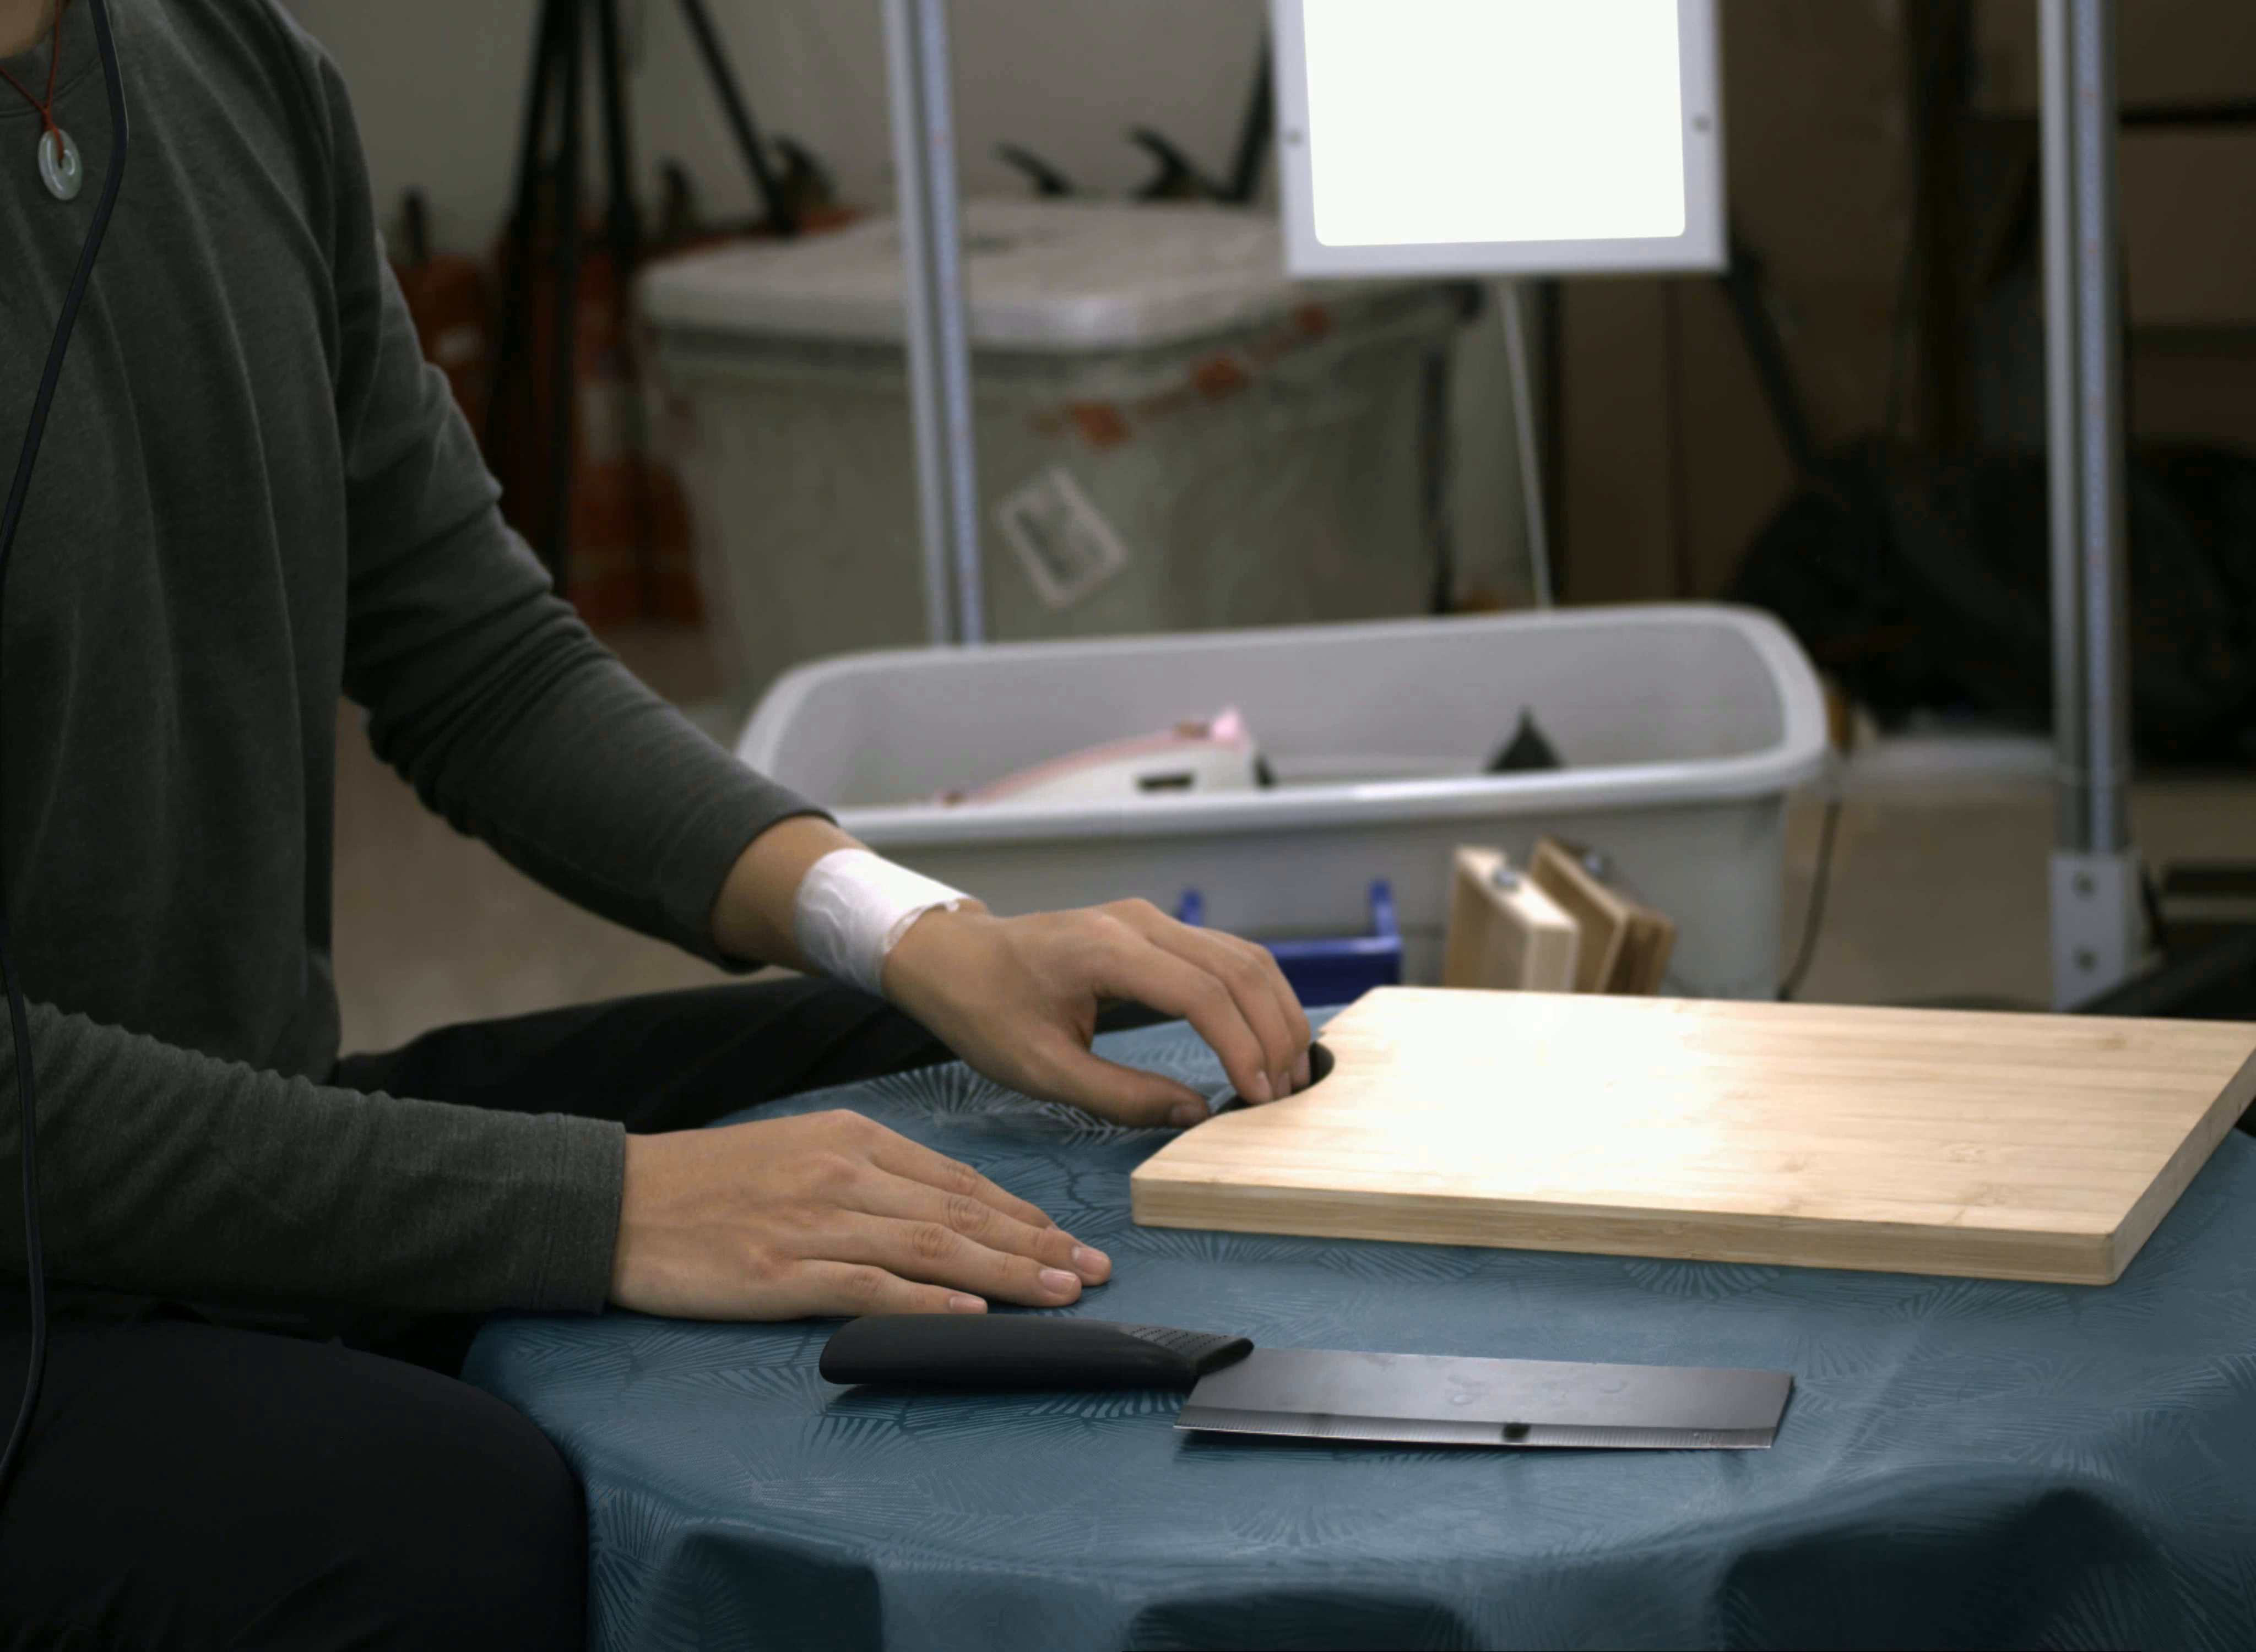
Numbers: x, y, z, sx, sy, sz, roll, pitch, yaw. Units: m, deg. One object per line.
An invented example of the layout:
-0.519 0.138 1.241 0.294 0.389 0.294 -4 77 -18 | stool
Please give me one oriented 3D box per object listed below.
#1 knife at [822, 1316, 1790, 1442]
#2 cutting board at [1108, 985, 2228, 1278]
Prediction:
0.052 0.170 1.676 0.306 0.021 0.079 2 16 20 | knife
0.197 0.102 1.896 0.354 0.023 0.246 1 15 25 | cutting board
